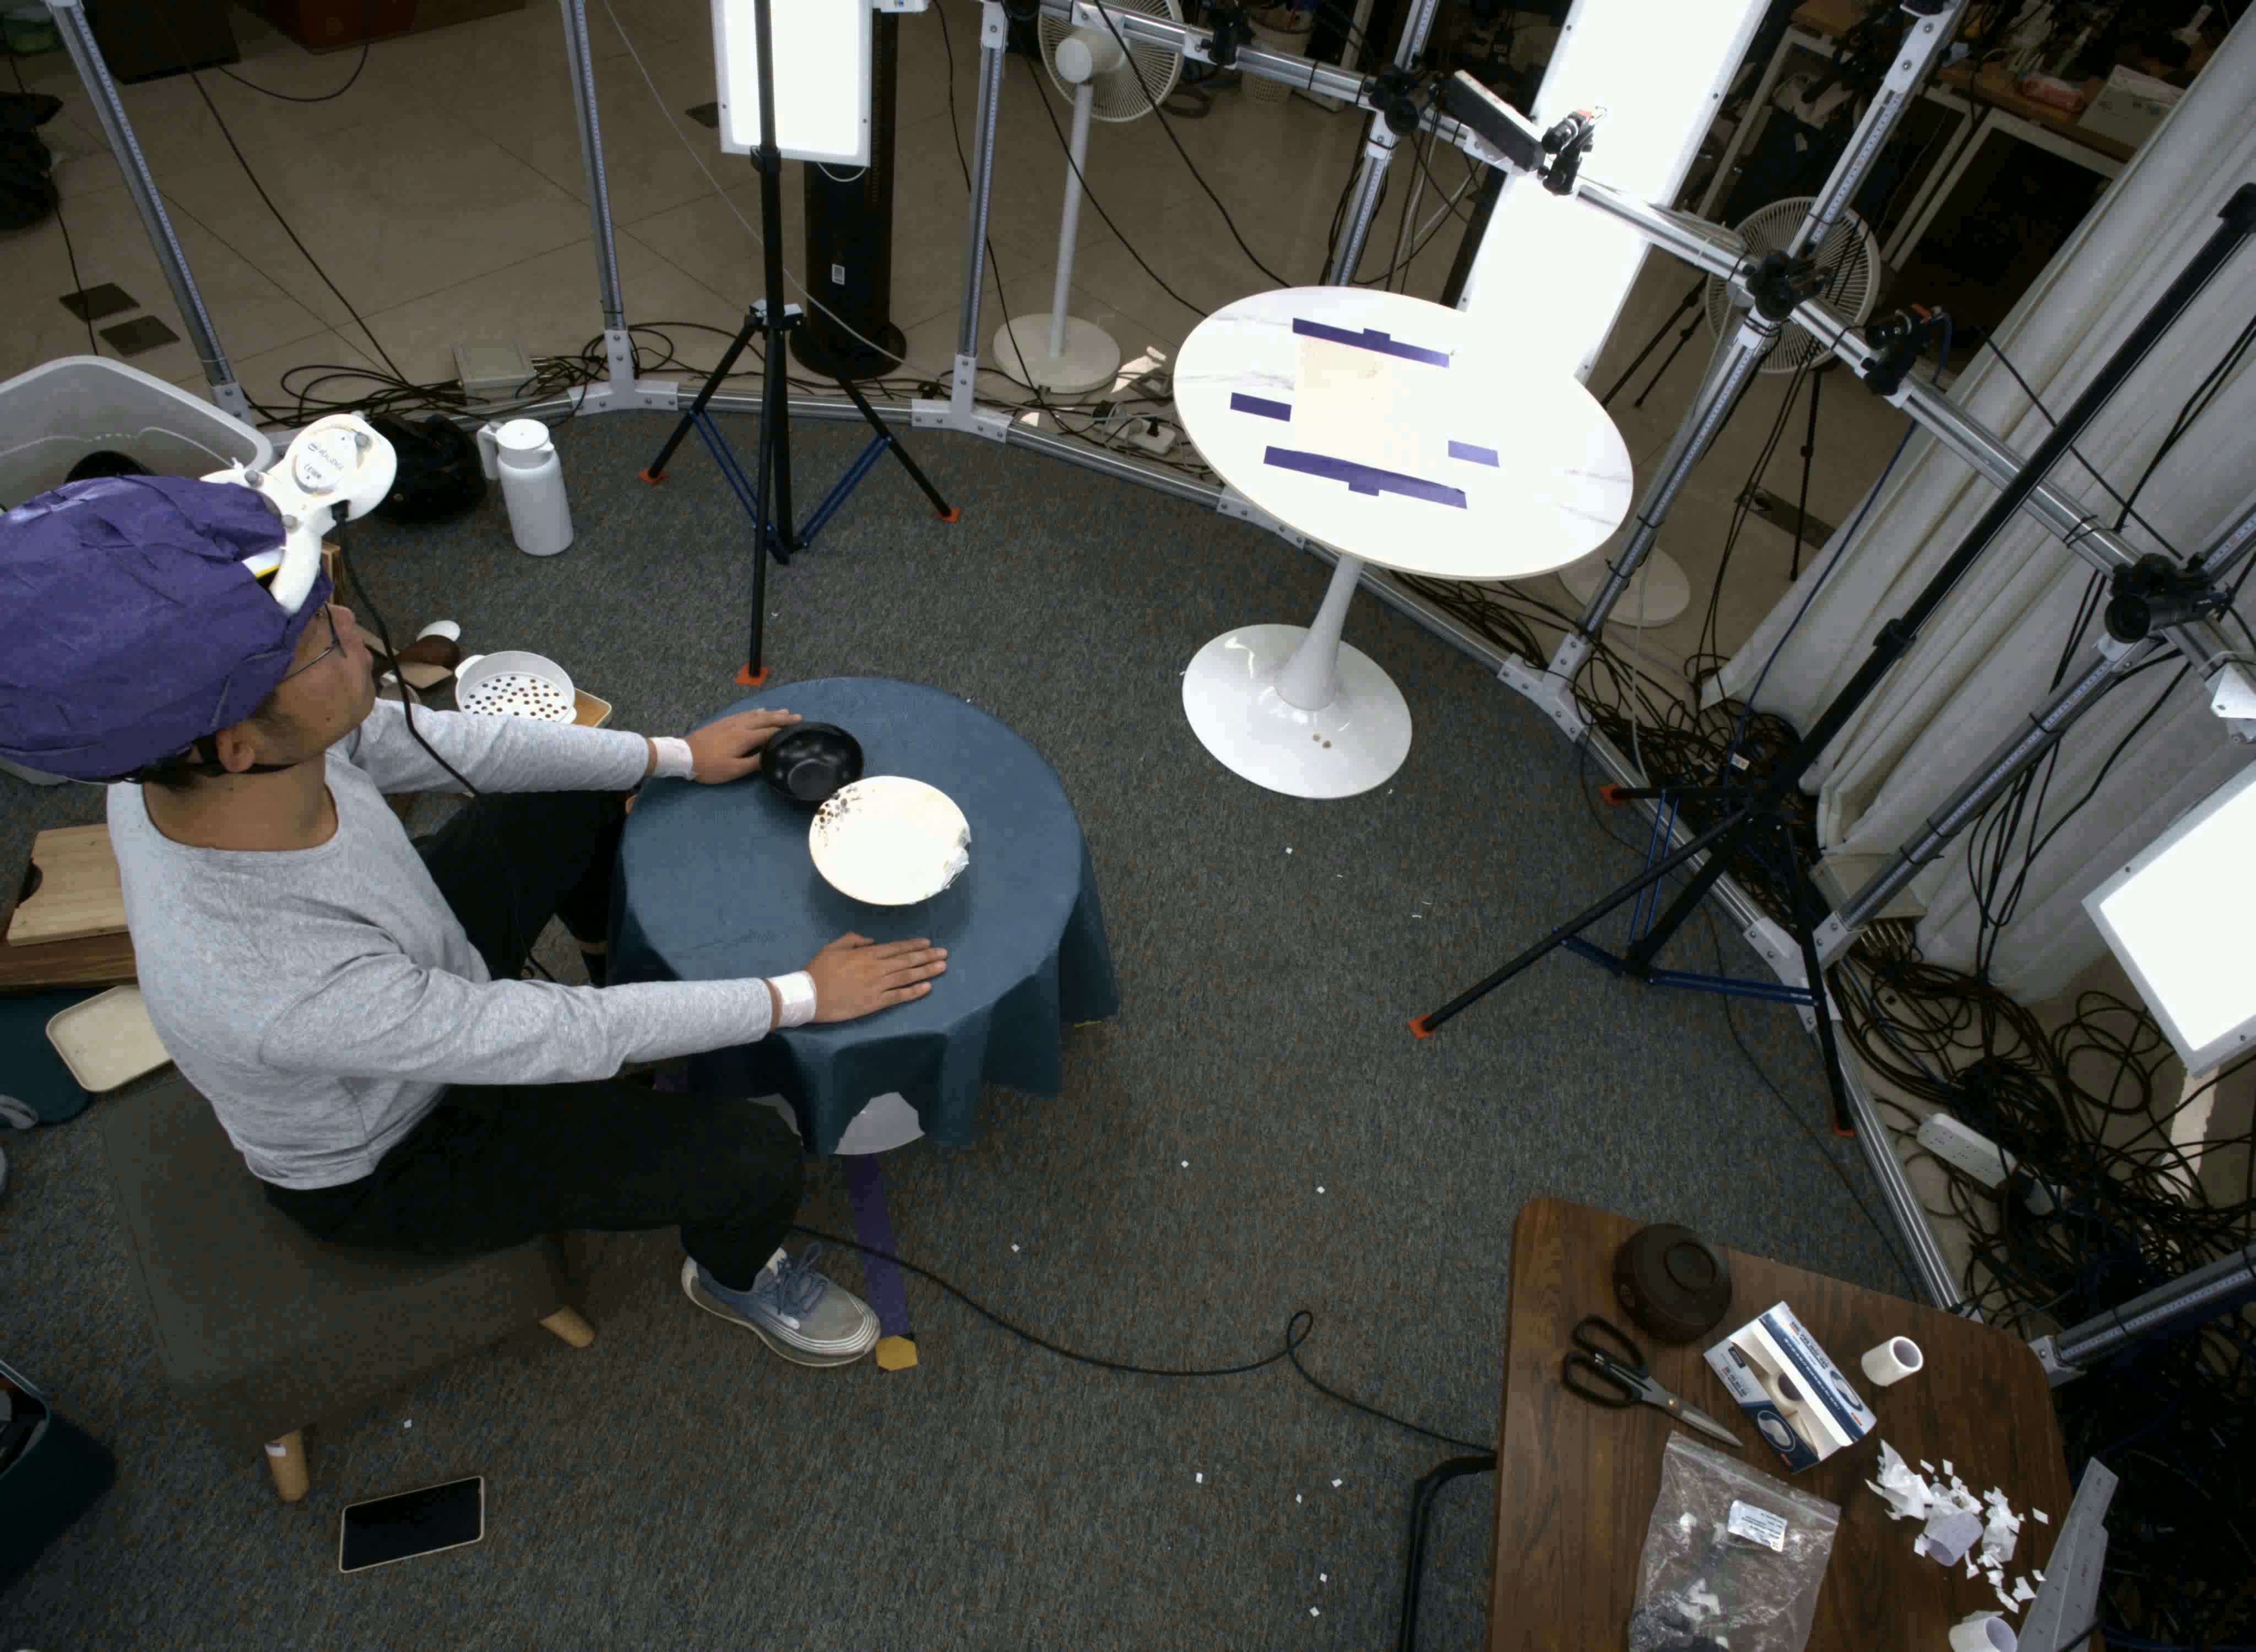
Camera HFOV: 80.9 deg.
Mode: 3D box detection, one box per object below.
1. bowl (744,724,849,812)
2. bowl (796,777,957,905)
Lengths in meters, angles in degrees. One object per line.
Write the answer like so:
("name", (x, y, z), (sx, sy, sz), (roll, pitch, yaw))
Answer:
("bowl", (-0.446, -0.071, 1.753), (0.139, 0.051, 0.137), (5, 54, -6))
("bowl", (-0.324, 0.037, 1.683), (0.203, 0.079, 0.200), (7, 52, -7))
